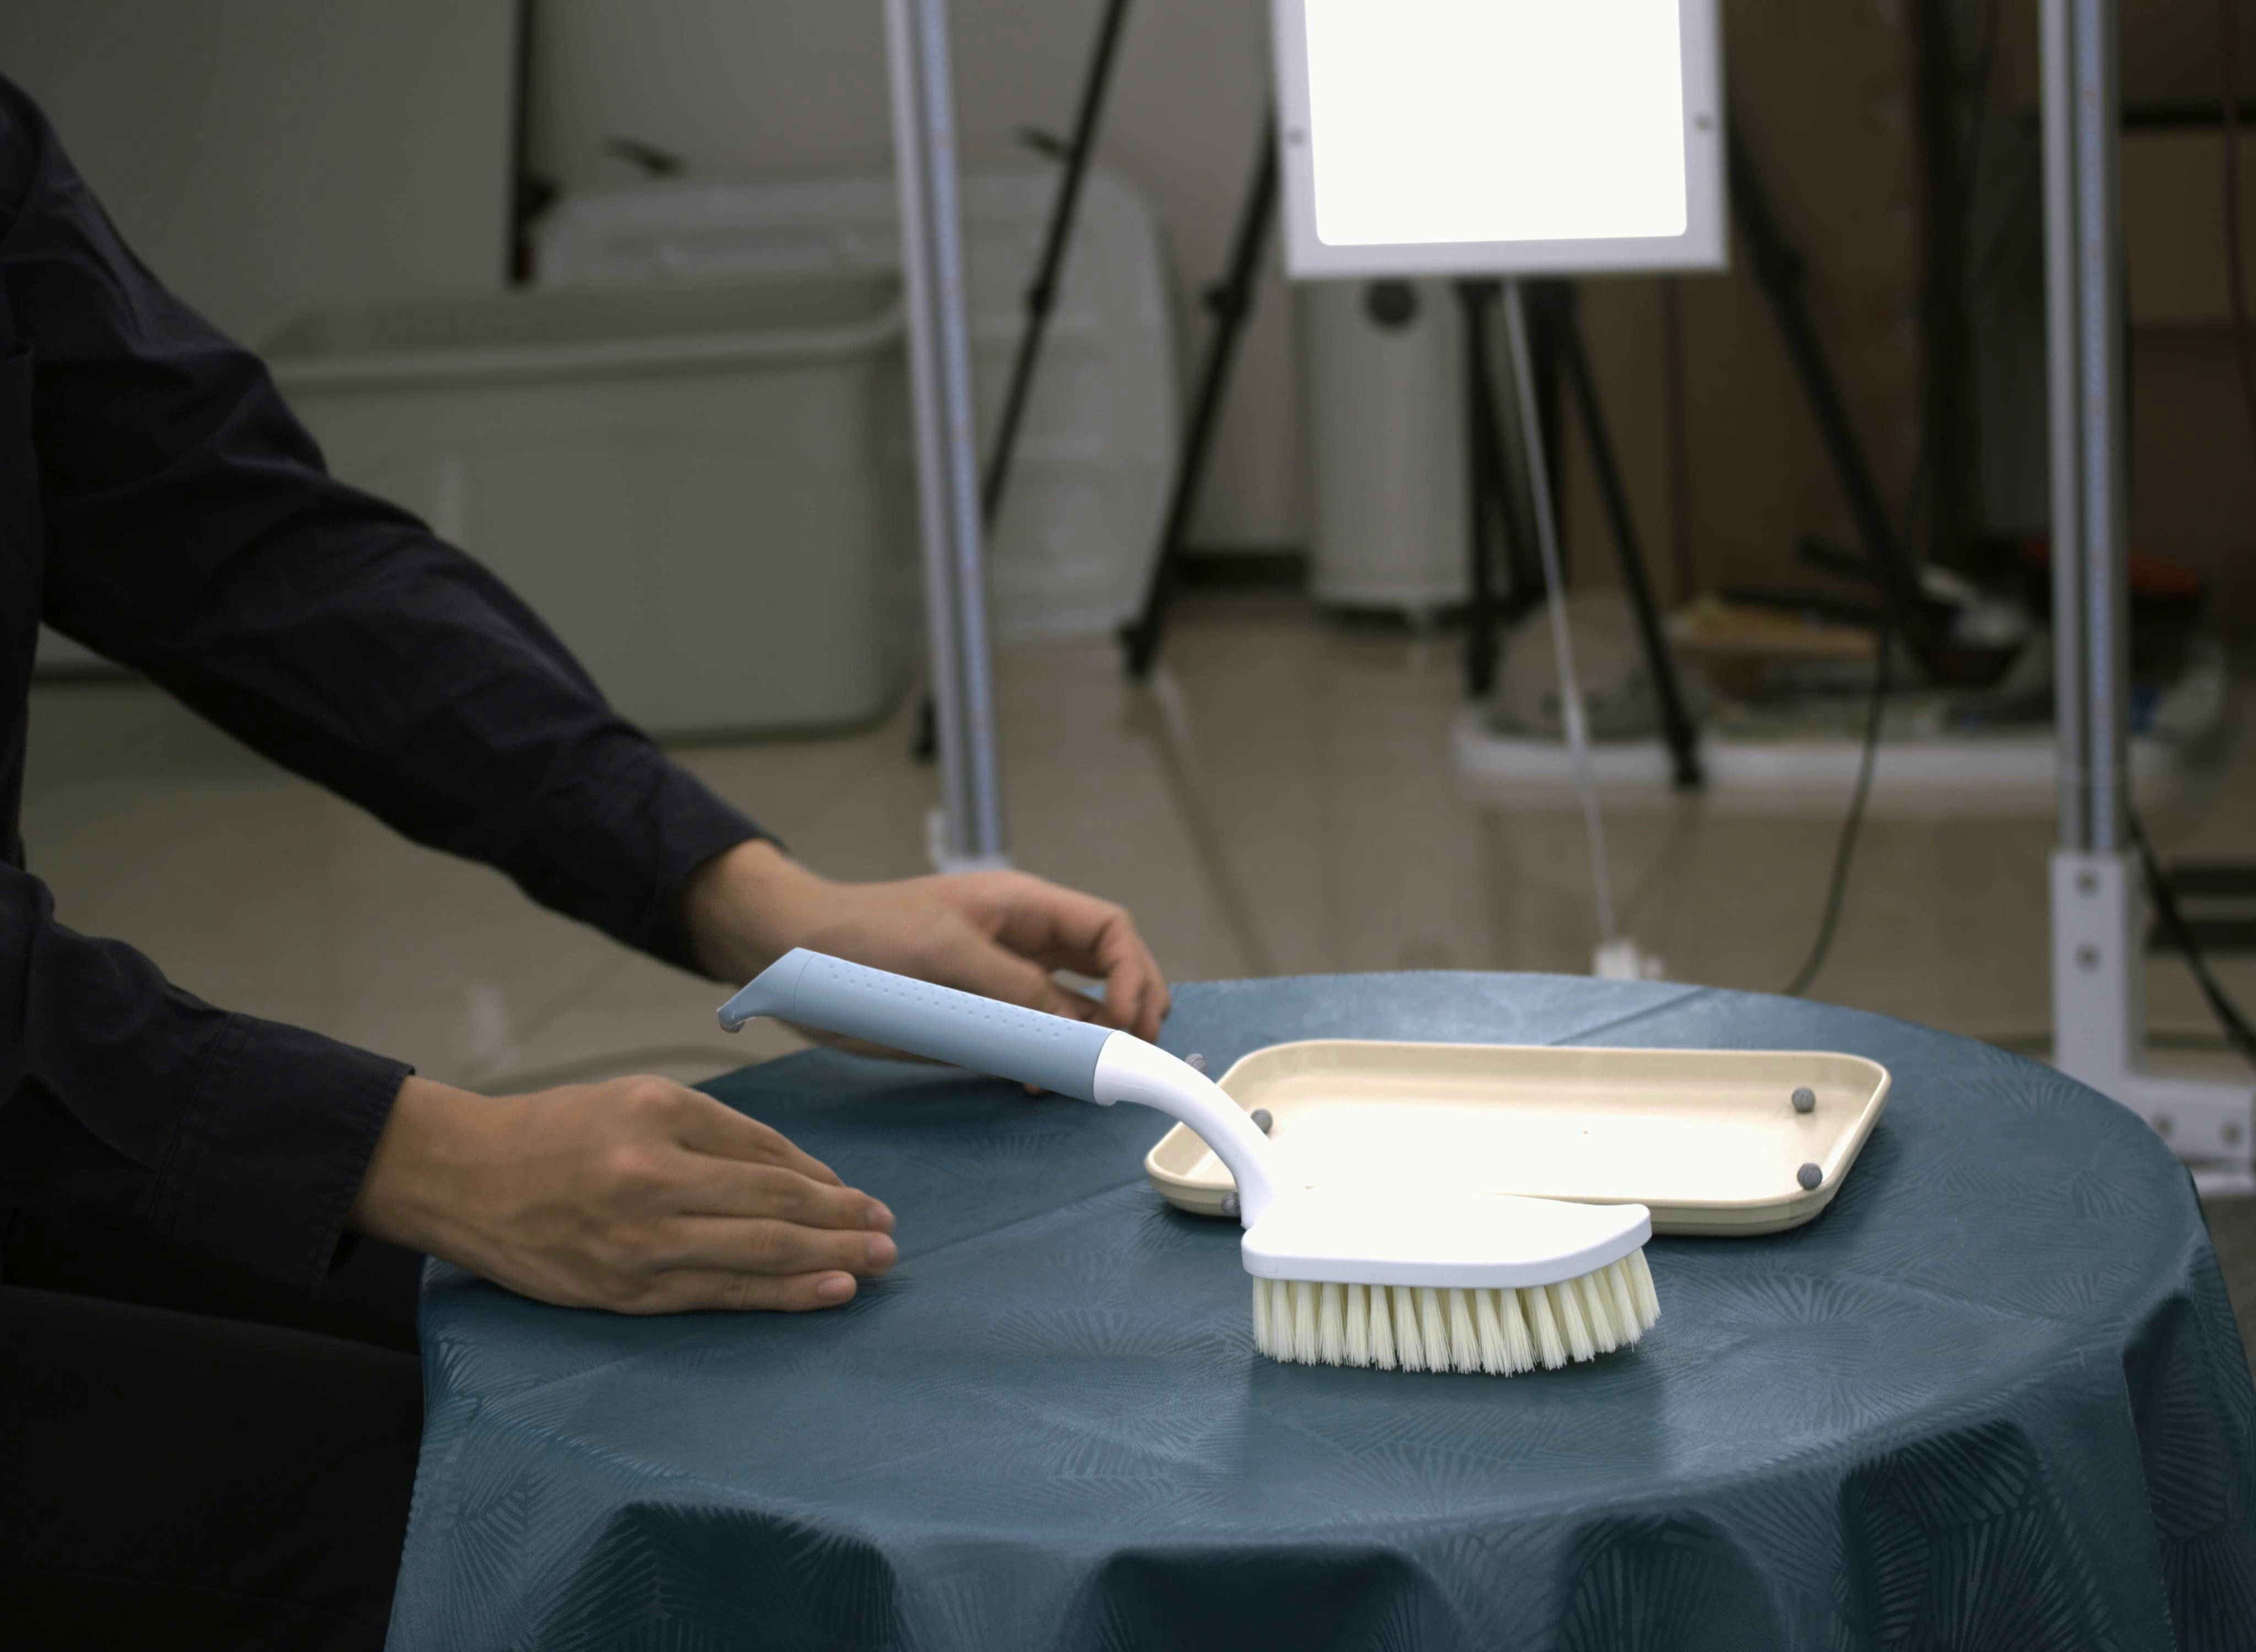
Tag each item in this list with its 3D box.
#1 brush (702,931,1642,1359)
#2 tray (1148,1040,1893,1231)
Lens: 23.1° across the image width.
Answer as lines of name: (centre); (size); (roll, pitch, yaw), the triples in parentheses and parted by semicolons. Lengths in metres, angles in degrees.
brush: (0.009, 0.115, 1.759); (0.329, 0.084, 0.082); (14, -17, 22)
tray: (0.137, 0.107, 1.892); (0.243, 0.017, 0.168); (1, 14, 20)
